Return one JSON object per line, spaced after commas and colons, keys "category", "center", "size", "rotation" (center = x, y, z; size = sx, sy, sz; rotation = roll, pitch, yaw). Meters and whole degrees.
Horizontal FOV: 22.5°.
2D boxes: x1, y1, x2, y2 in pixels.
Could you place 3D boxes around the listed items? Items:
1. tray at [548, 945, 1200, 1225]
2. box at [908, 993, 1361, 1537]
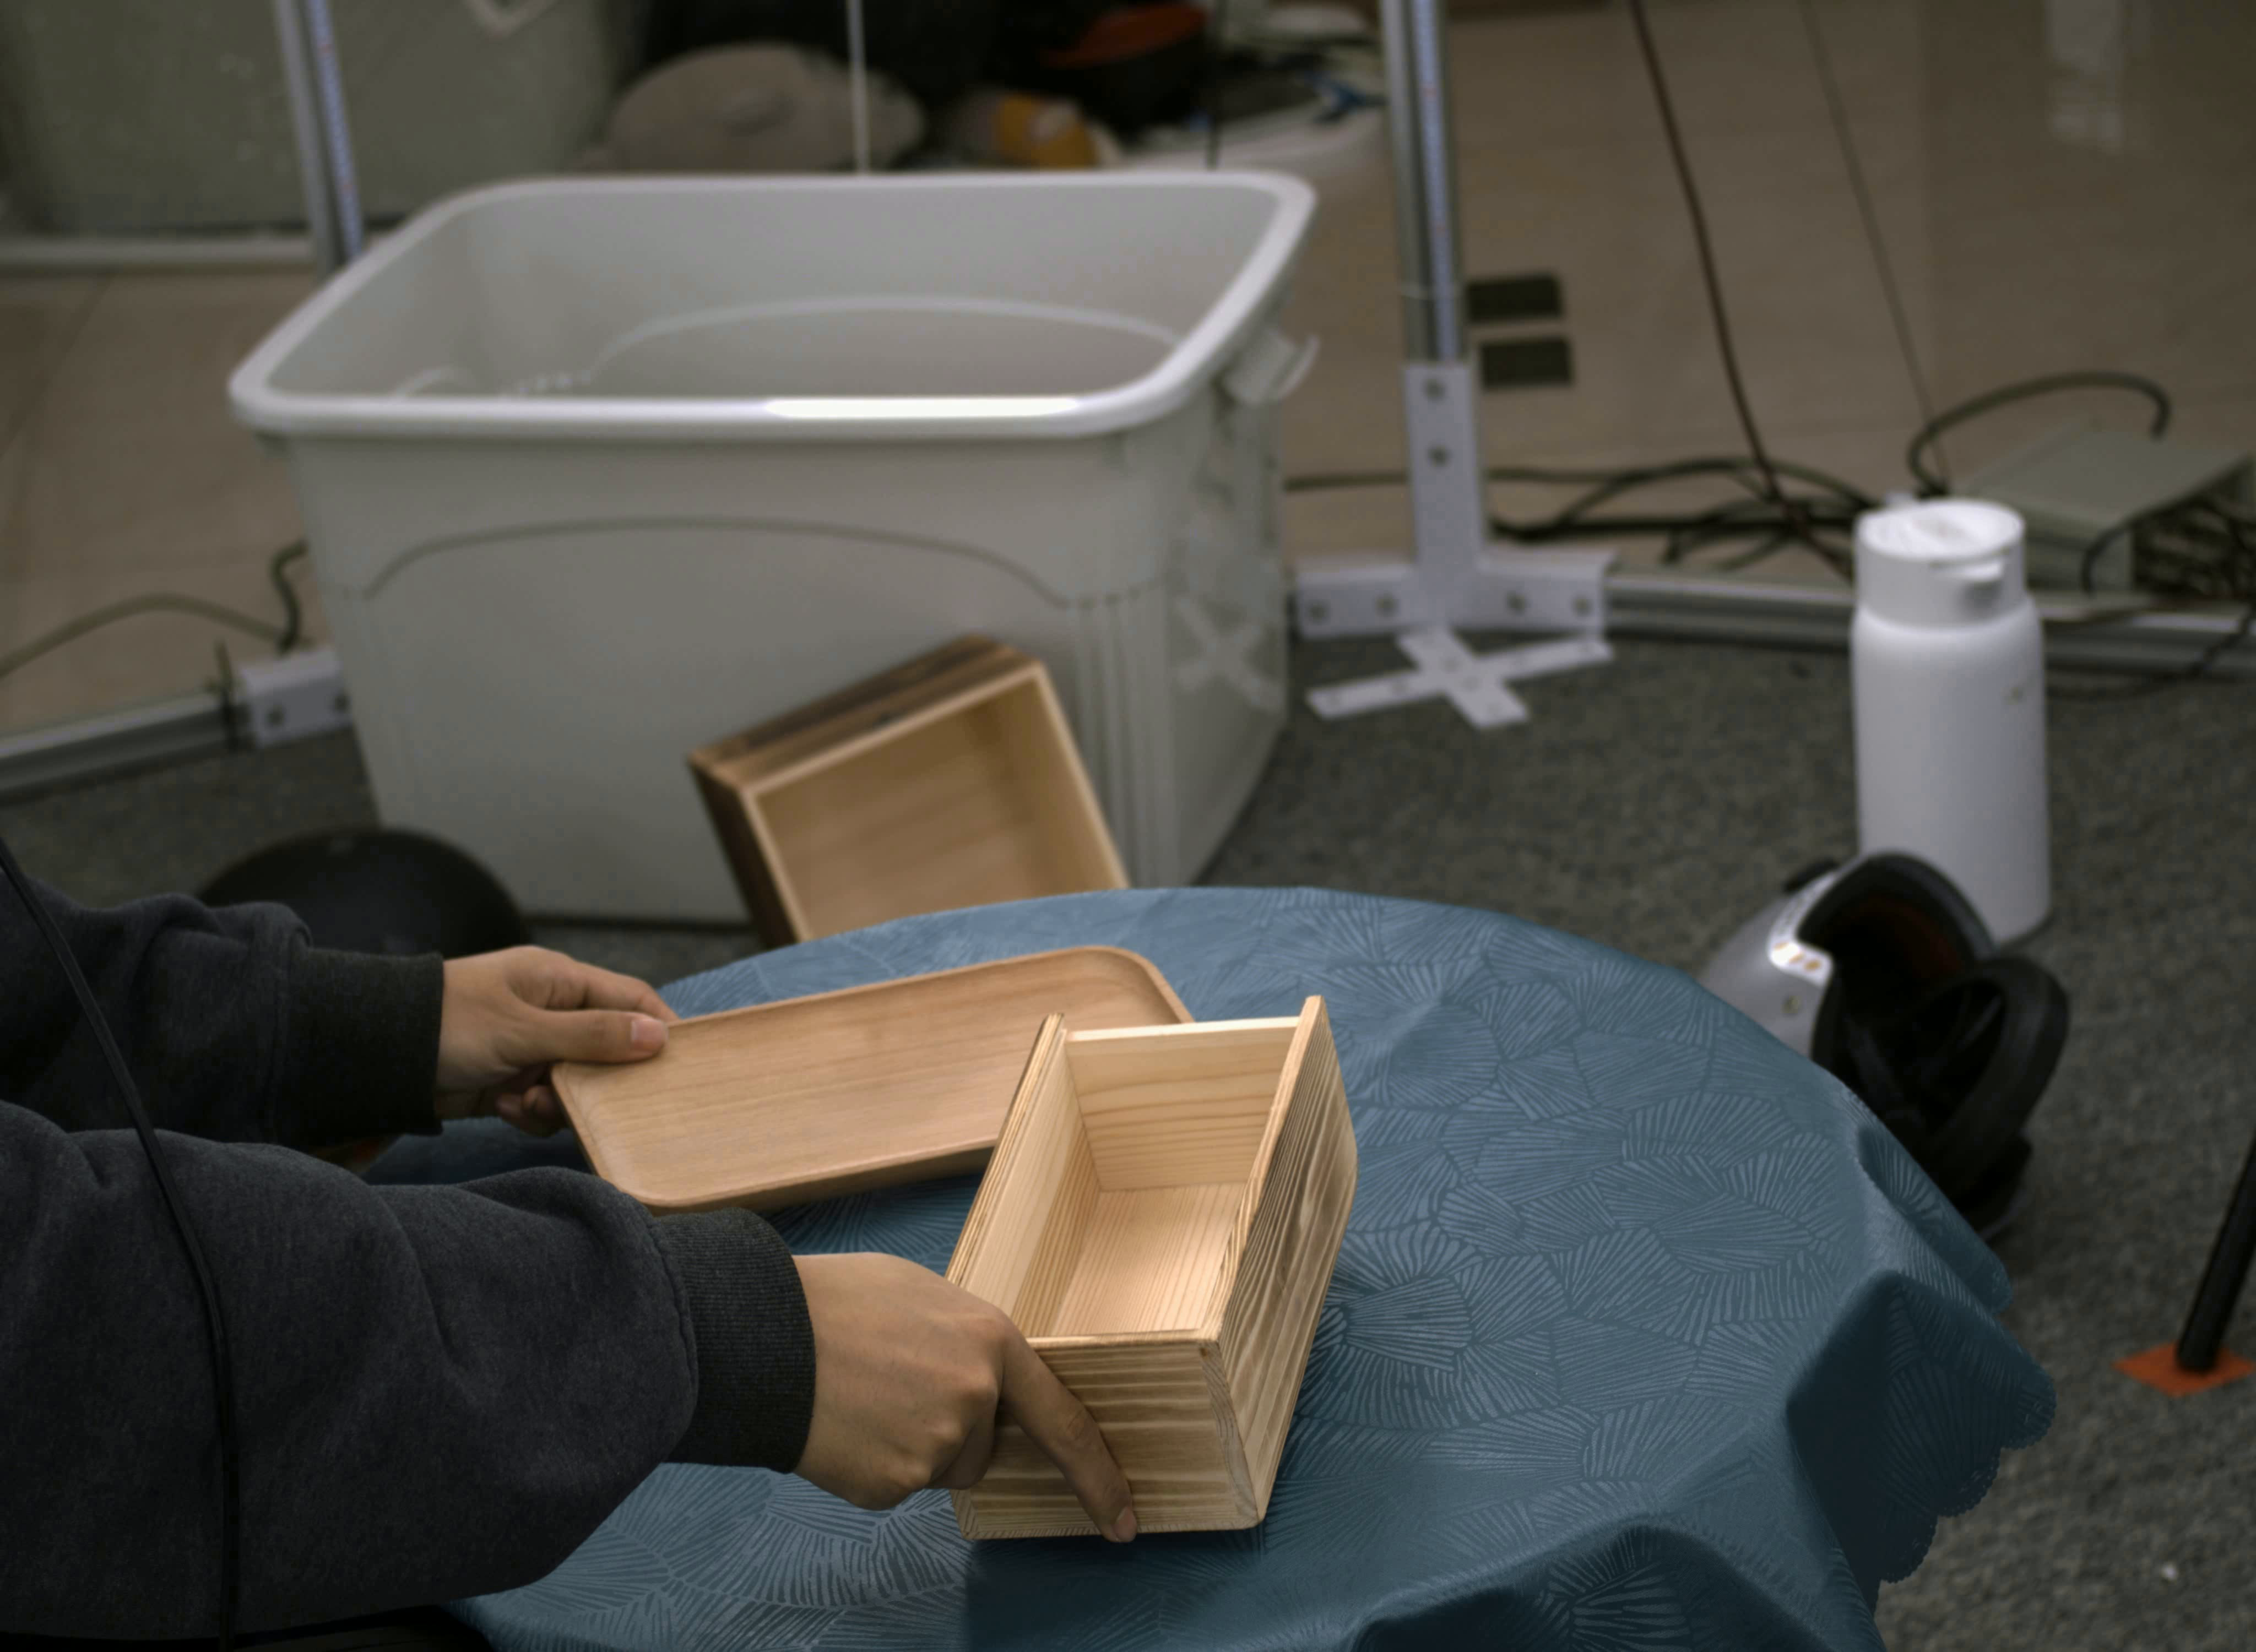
{"category": "tray", "center": [-0.094, 0.100, 2.199], "size": [0.250, 0.023, 0.128], "rotation": [-10, 29, -17]}
{"category": "box", "center": [0.006, 0.151, 1.980], "size": [0.107, 0.081, 0.208], "rotation": [-4, 31, 16]}
